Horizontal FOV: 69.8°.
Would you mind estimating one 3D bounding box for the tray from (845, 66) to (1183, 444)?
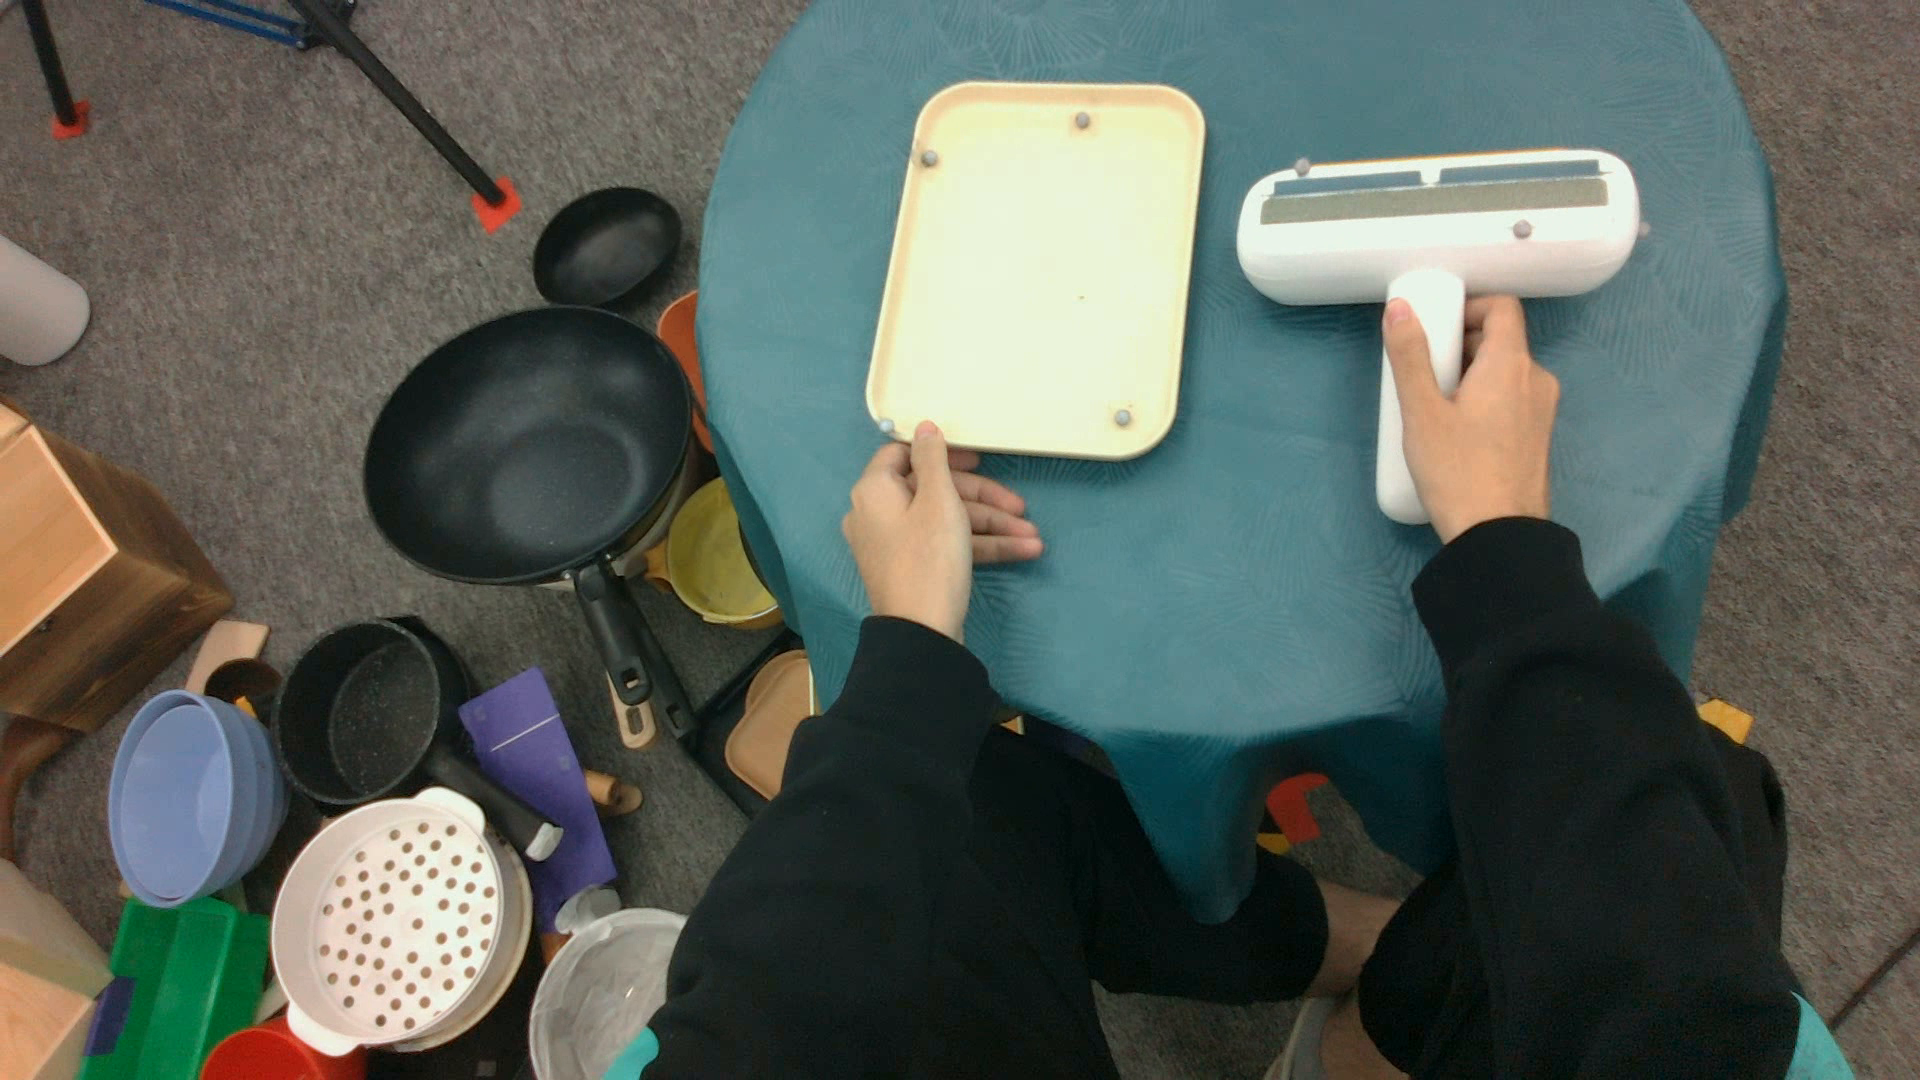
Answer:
[{"bbox_3d":[0.033,-0.165,0.776,0.171,0.017,0.240,5,69,9],"label":"tray"}]

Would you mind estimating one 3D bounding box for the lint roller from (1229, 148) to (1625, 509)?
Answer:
[{"bbox_3d":[0.225,-0.112,0.699,0.192,0.074,0.193,8,69,18],"label":"lint roller"}]
